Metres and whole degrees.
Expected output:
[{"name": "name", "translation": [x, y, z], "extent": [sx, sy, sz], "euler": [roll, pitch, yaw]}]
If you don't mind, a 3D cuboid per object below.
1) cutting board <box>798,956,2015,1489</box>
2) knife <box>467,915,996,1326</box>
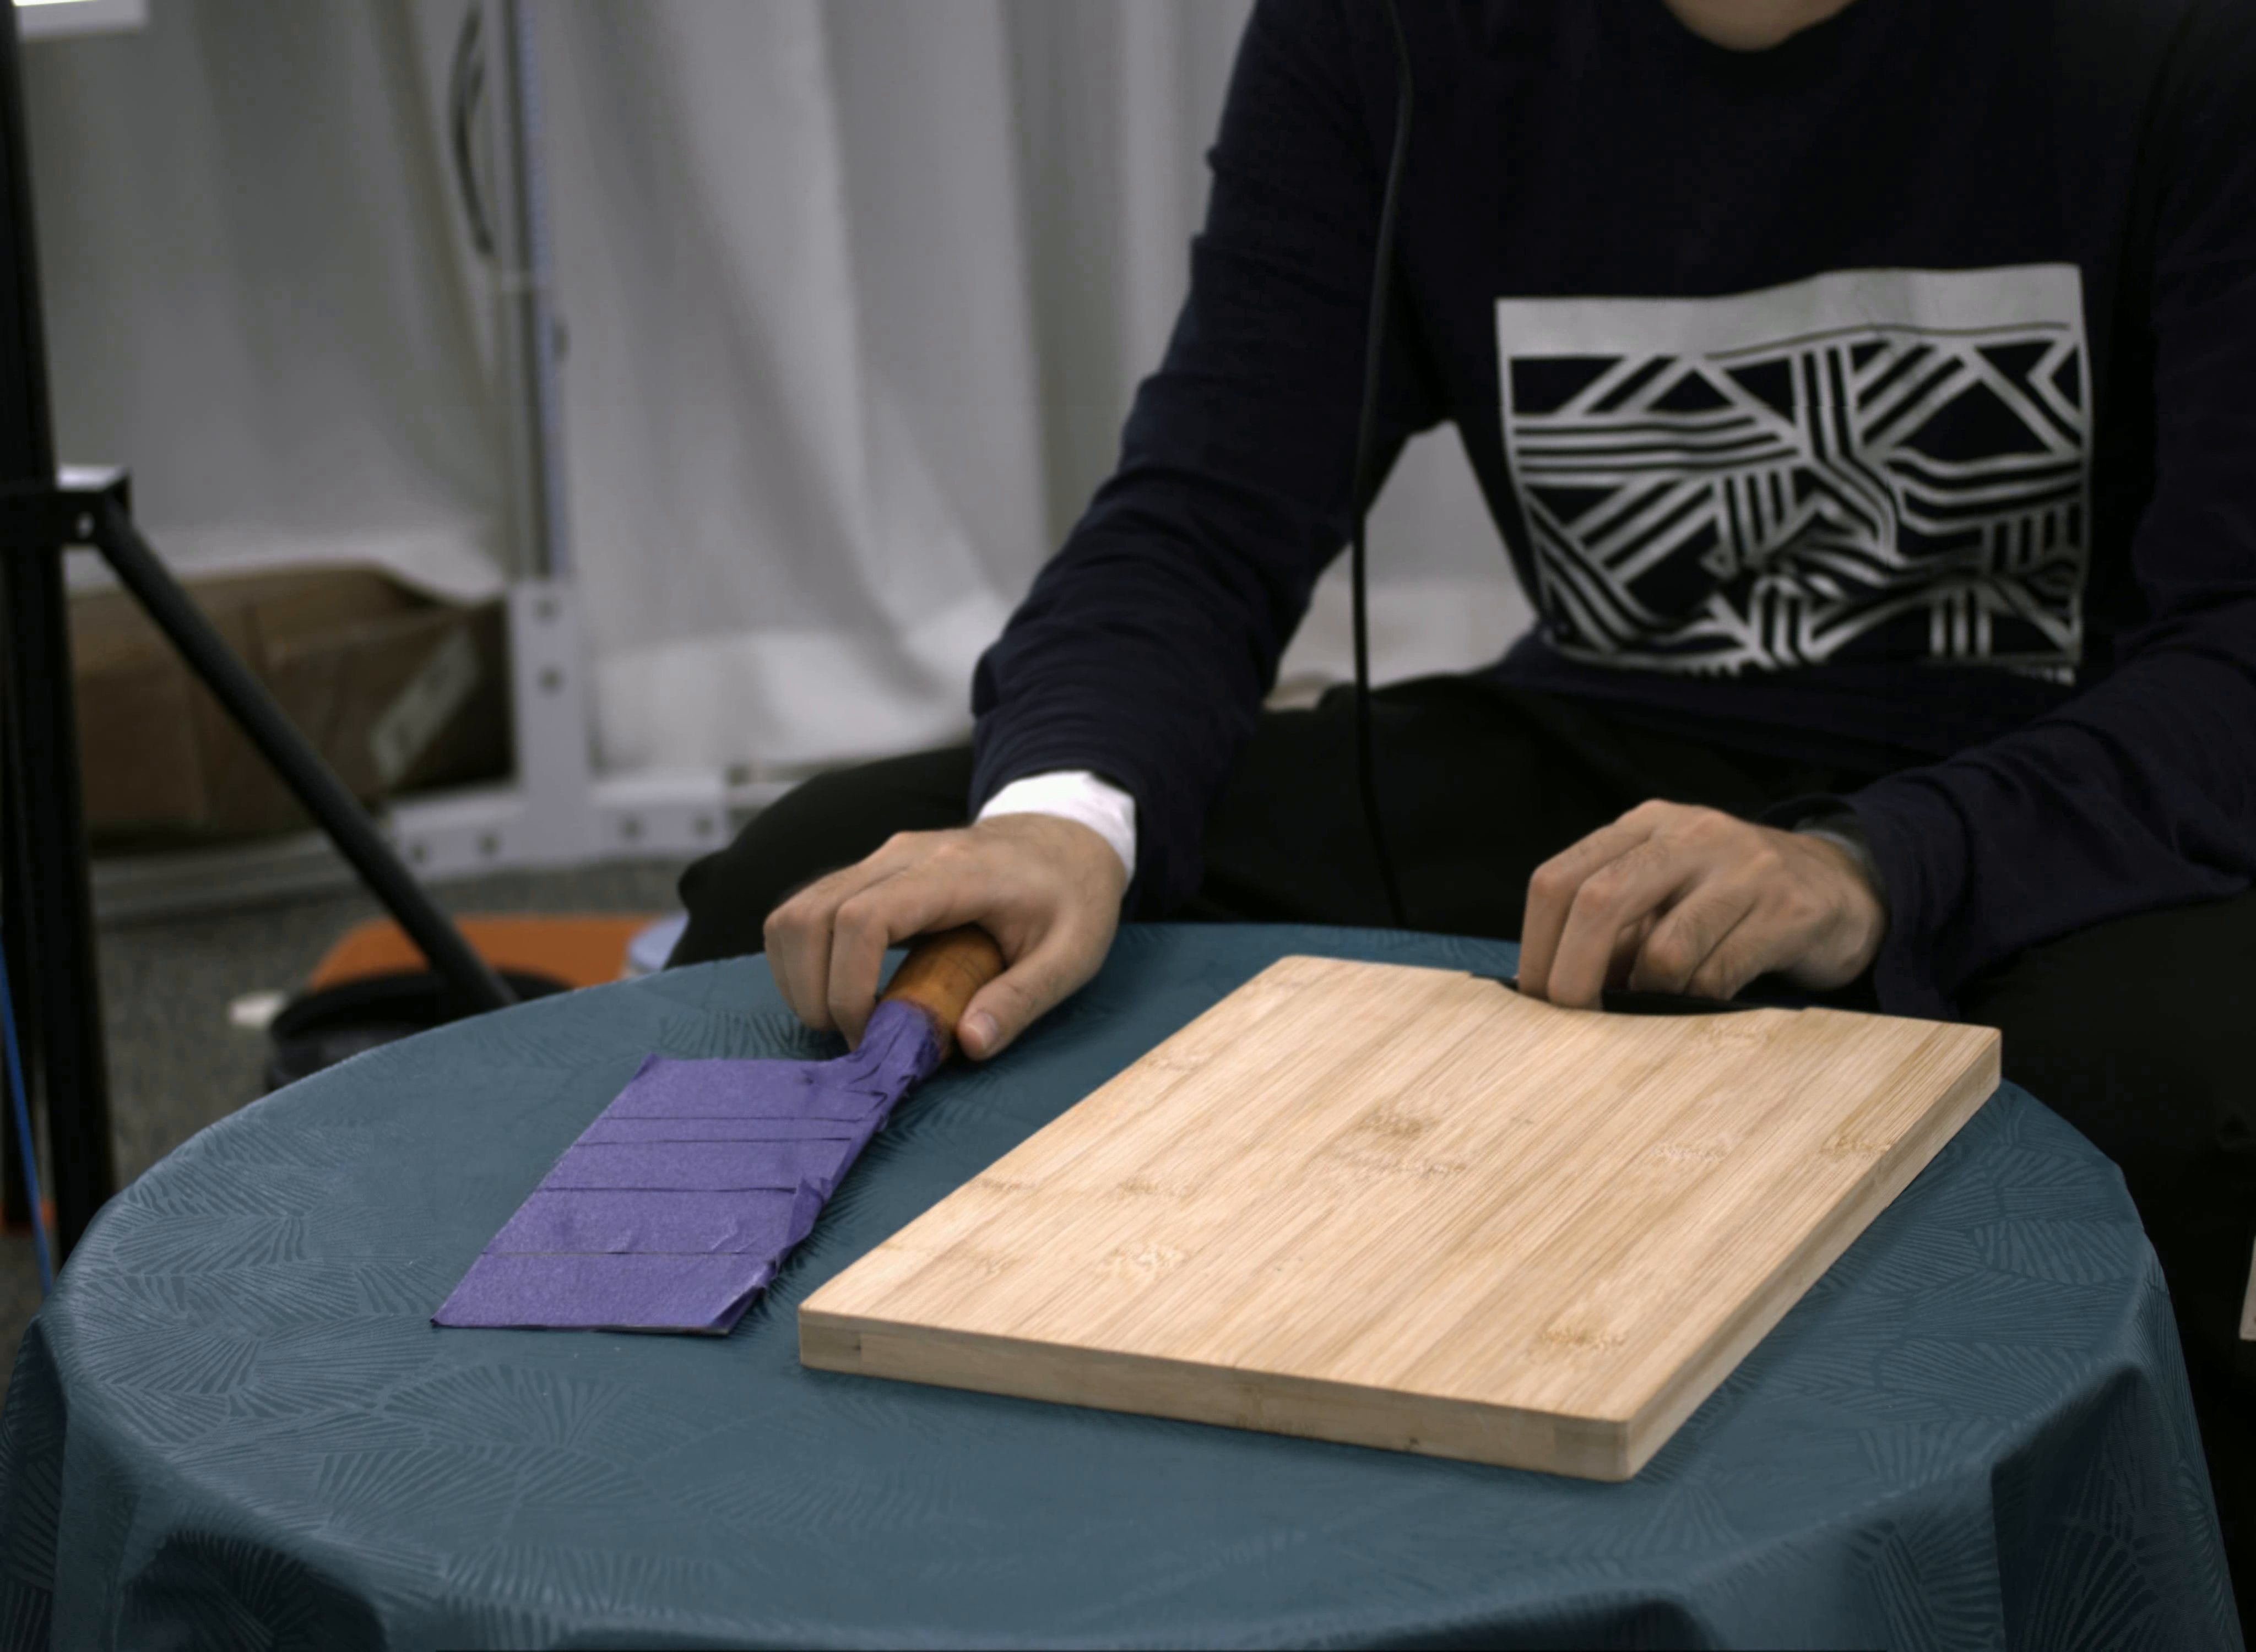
[{"name": "cutting board", "translation": [0.091, 0.105, 1.529], "extent": [0.254, 0.023, 0.343], "euler": [5, 17, 24]}, {"name": "knife", "translation": [-0.117, 0.086, 1.610], "extent": [0.104, 0.032, 0.313], "euler": [1, 16, 13]}]
